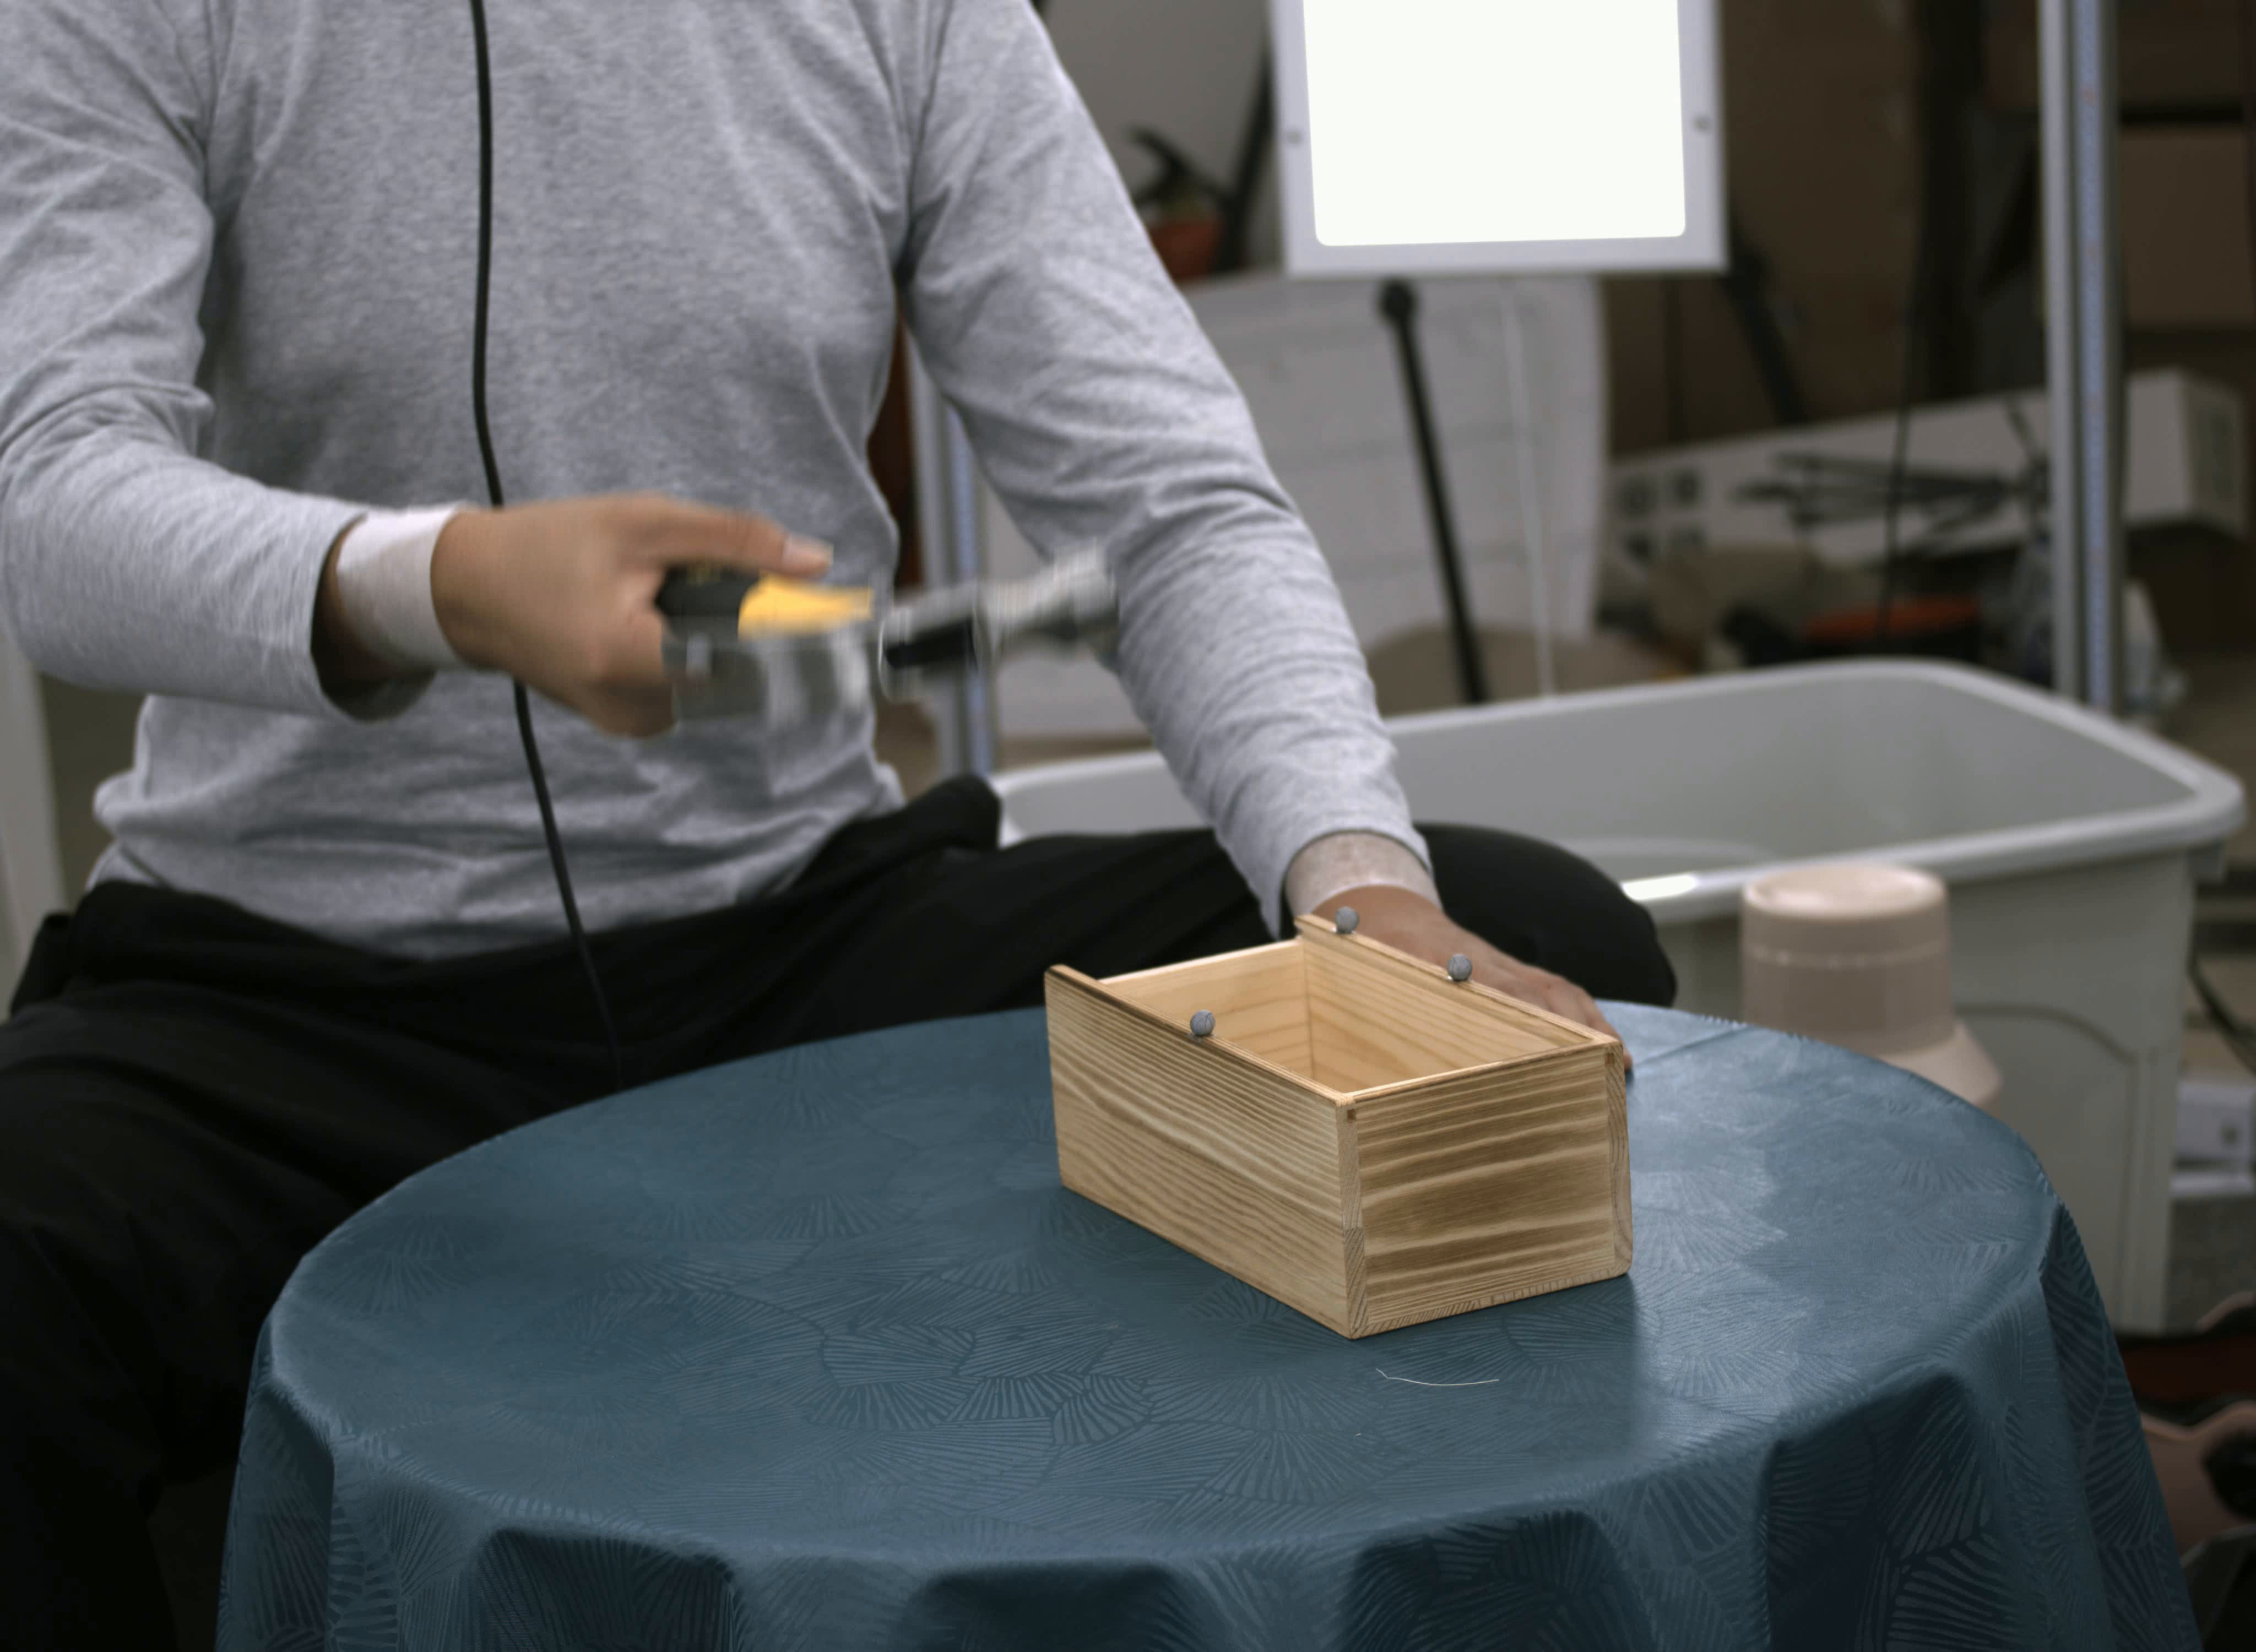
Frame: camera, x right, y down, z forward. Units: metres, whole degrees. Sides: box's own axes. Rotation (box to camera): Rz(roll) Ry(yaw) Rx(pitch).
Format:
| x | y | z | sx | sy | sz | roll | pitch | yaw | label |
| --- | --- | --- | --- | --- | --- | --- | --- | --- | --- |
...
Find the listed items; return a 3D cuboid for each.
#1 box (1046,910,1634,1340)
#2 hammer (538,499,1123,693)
| x | y | z | sx | sy | sz | roll | pitch | yaw | label |
| --- | --- | --- | --- | --- | --- | --- | --- | --- | --- |
| 0.068 | 0.096 | 1.830 | 0.105 | 0.080 | 0.215 | -12 | 15 | -24 | box |
| -0.127 | -0.081 | 1.821 | 0.129 | 0.032 | 0.344 | -17 | 10 | -21 | hammer |
